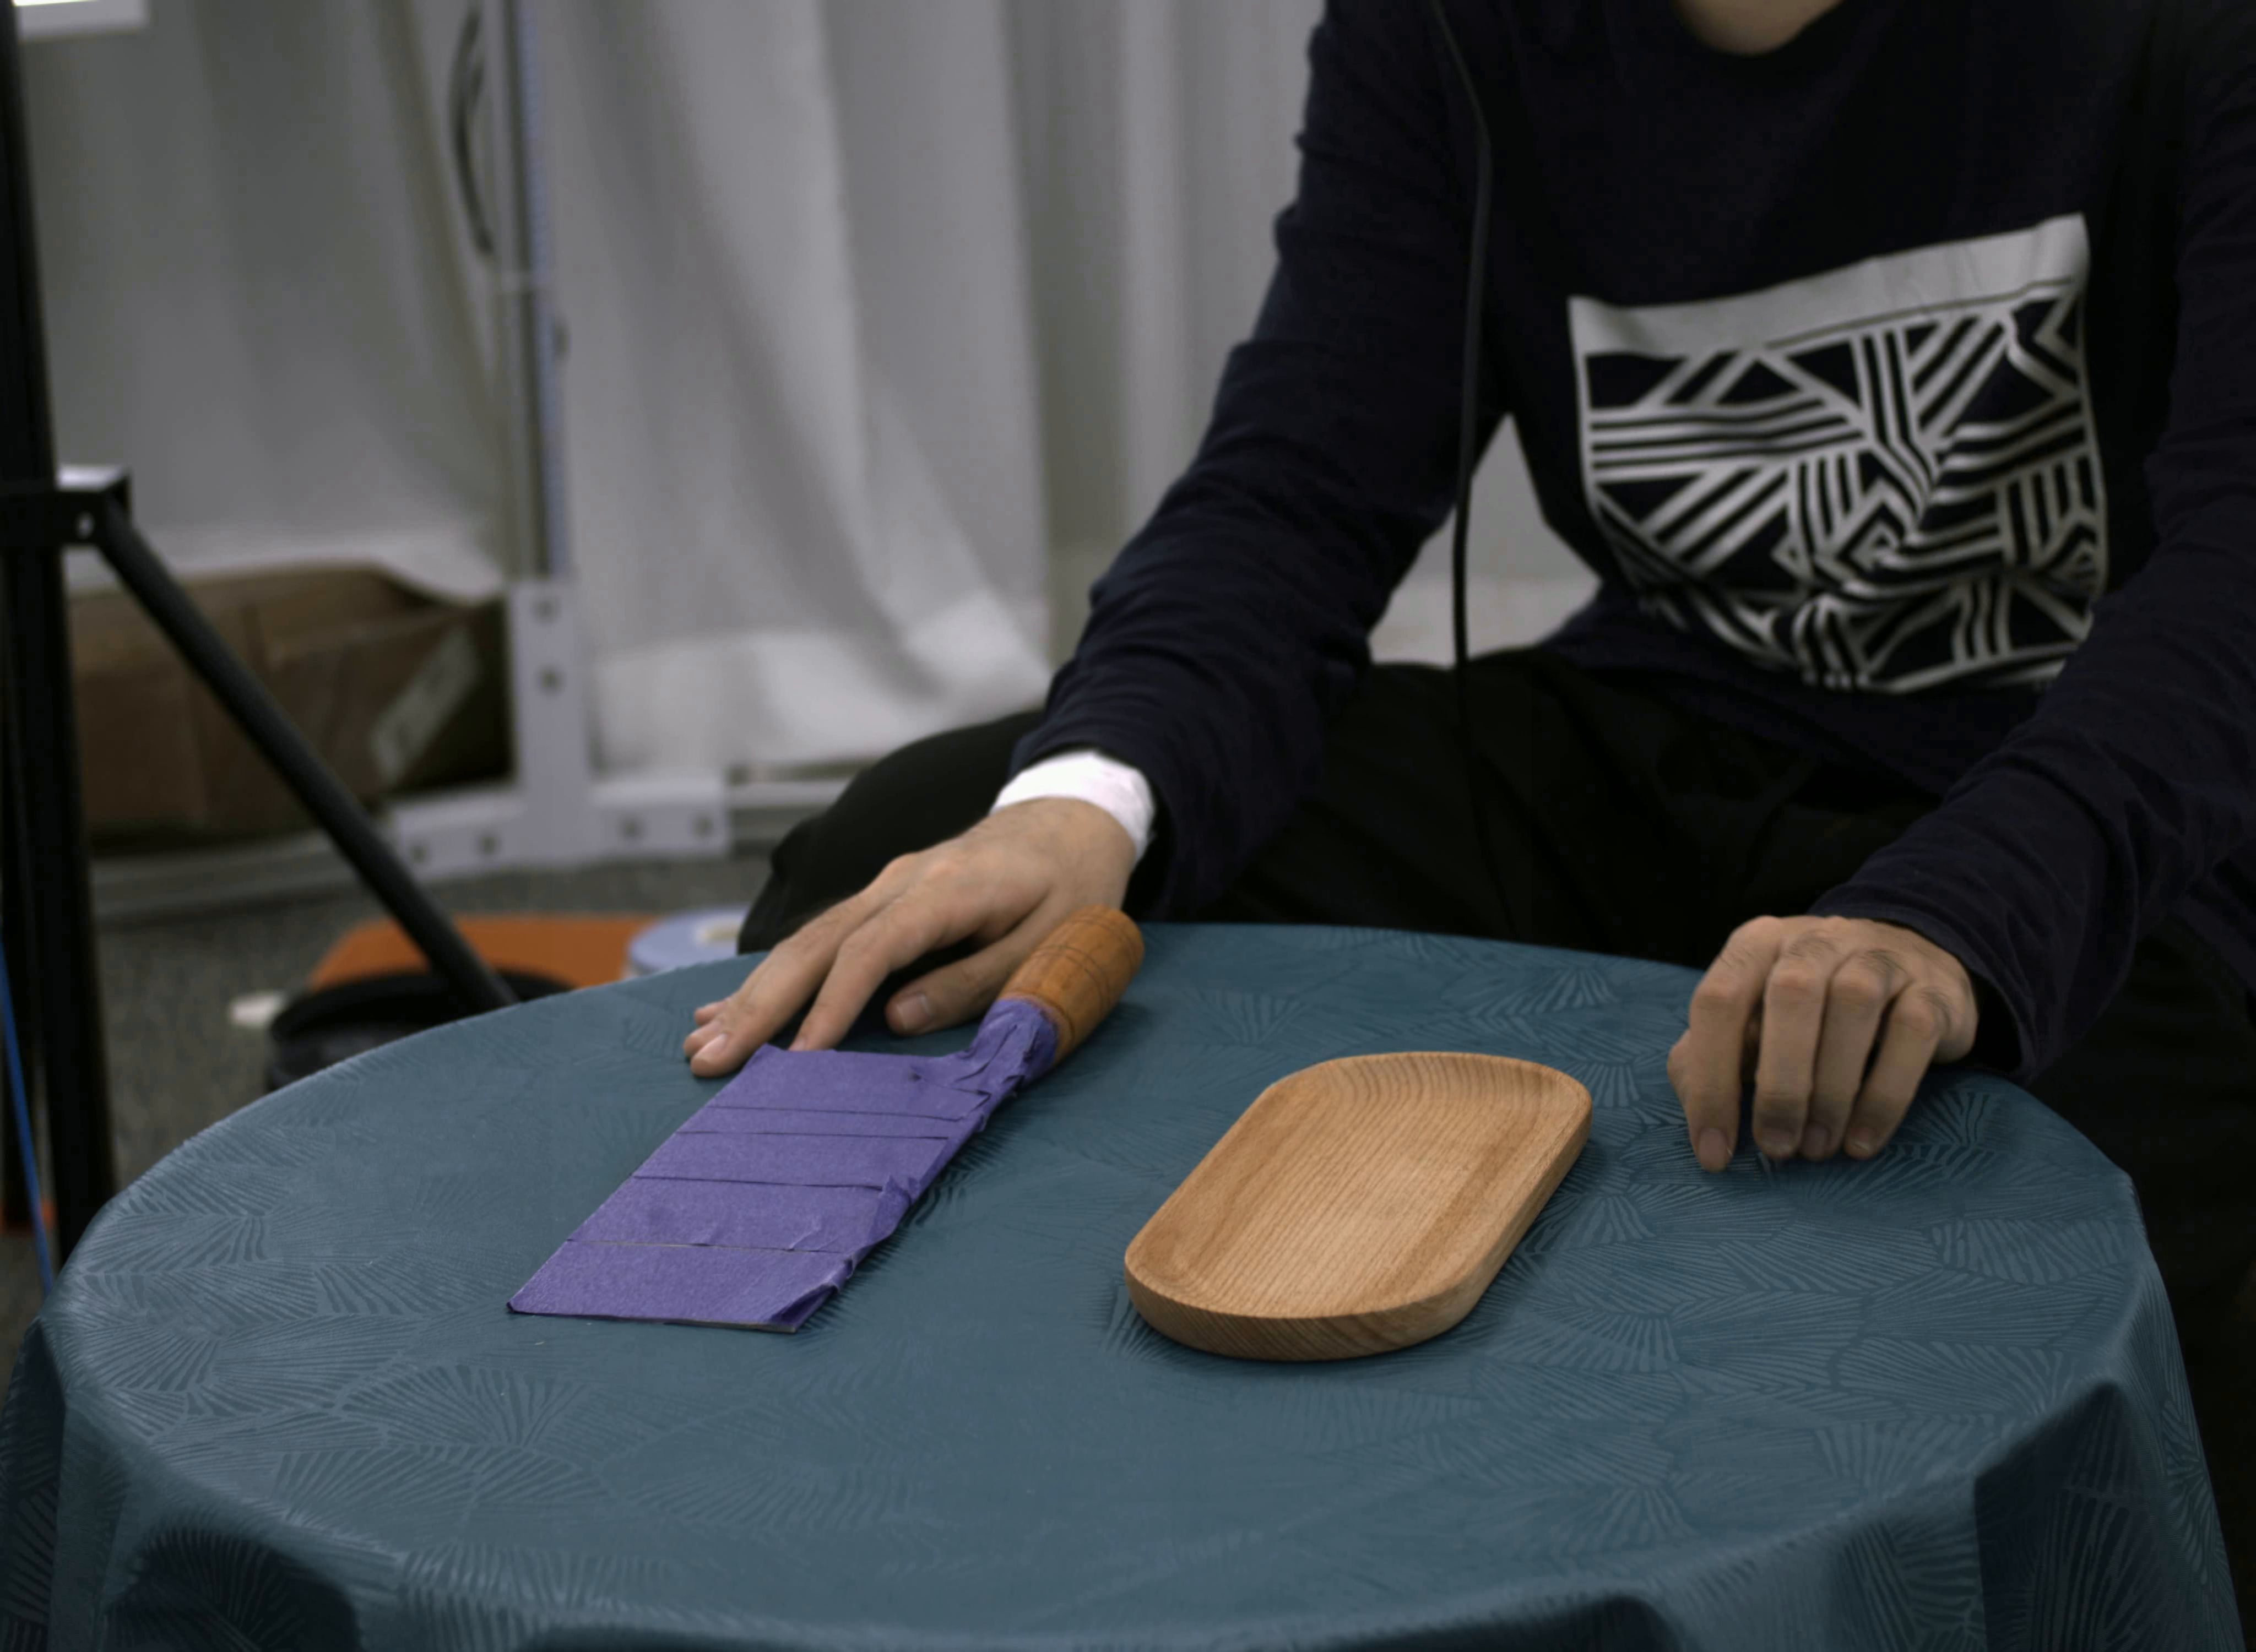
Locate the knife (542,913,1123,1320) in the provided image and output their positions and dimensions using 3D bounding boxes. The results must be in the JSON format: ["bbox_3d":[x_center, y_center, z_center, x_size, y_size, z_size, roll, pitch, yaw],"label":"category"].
[{"bbox_3d":[-0.086,0.084,1.610,0.105,0.032,0.312,3,17,17],"label":"knife"}]

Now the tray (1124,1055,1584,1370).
[{"bbox_3d":[0.068,0.109,1.520,0.102,0.020,0.229,2,18,17],"label":"tray"}]
